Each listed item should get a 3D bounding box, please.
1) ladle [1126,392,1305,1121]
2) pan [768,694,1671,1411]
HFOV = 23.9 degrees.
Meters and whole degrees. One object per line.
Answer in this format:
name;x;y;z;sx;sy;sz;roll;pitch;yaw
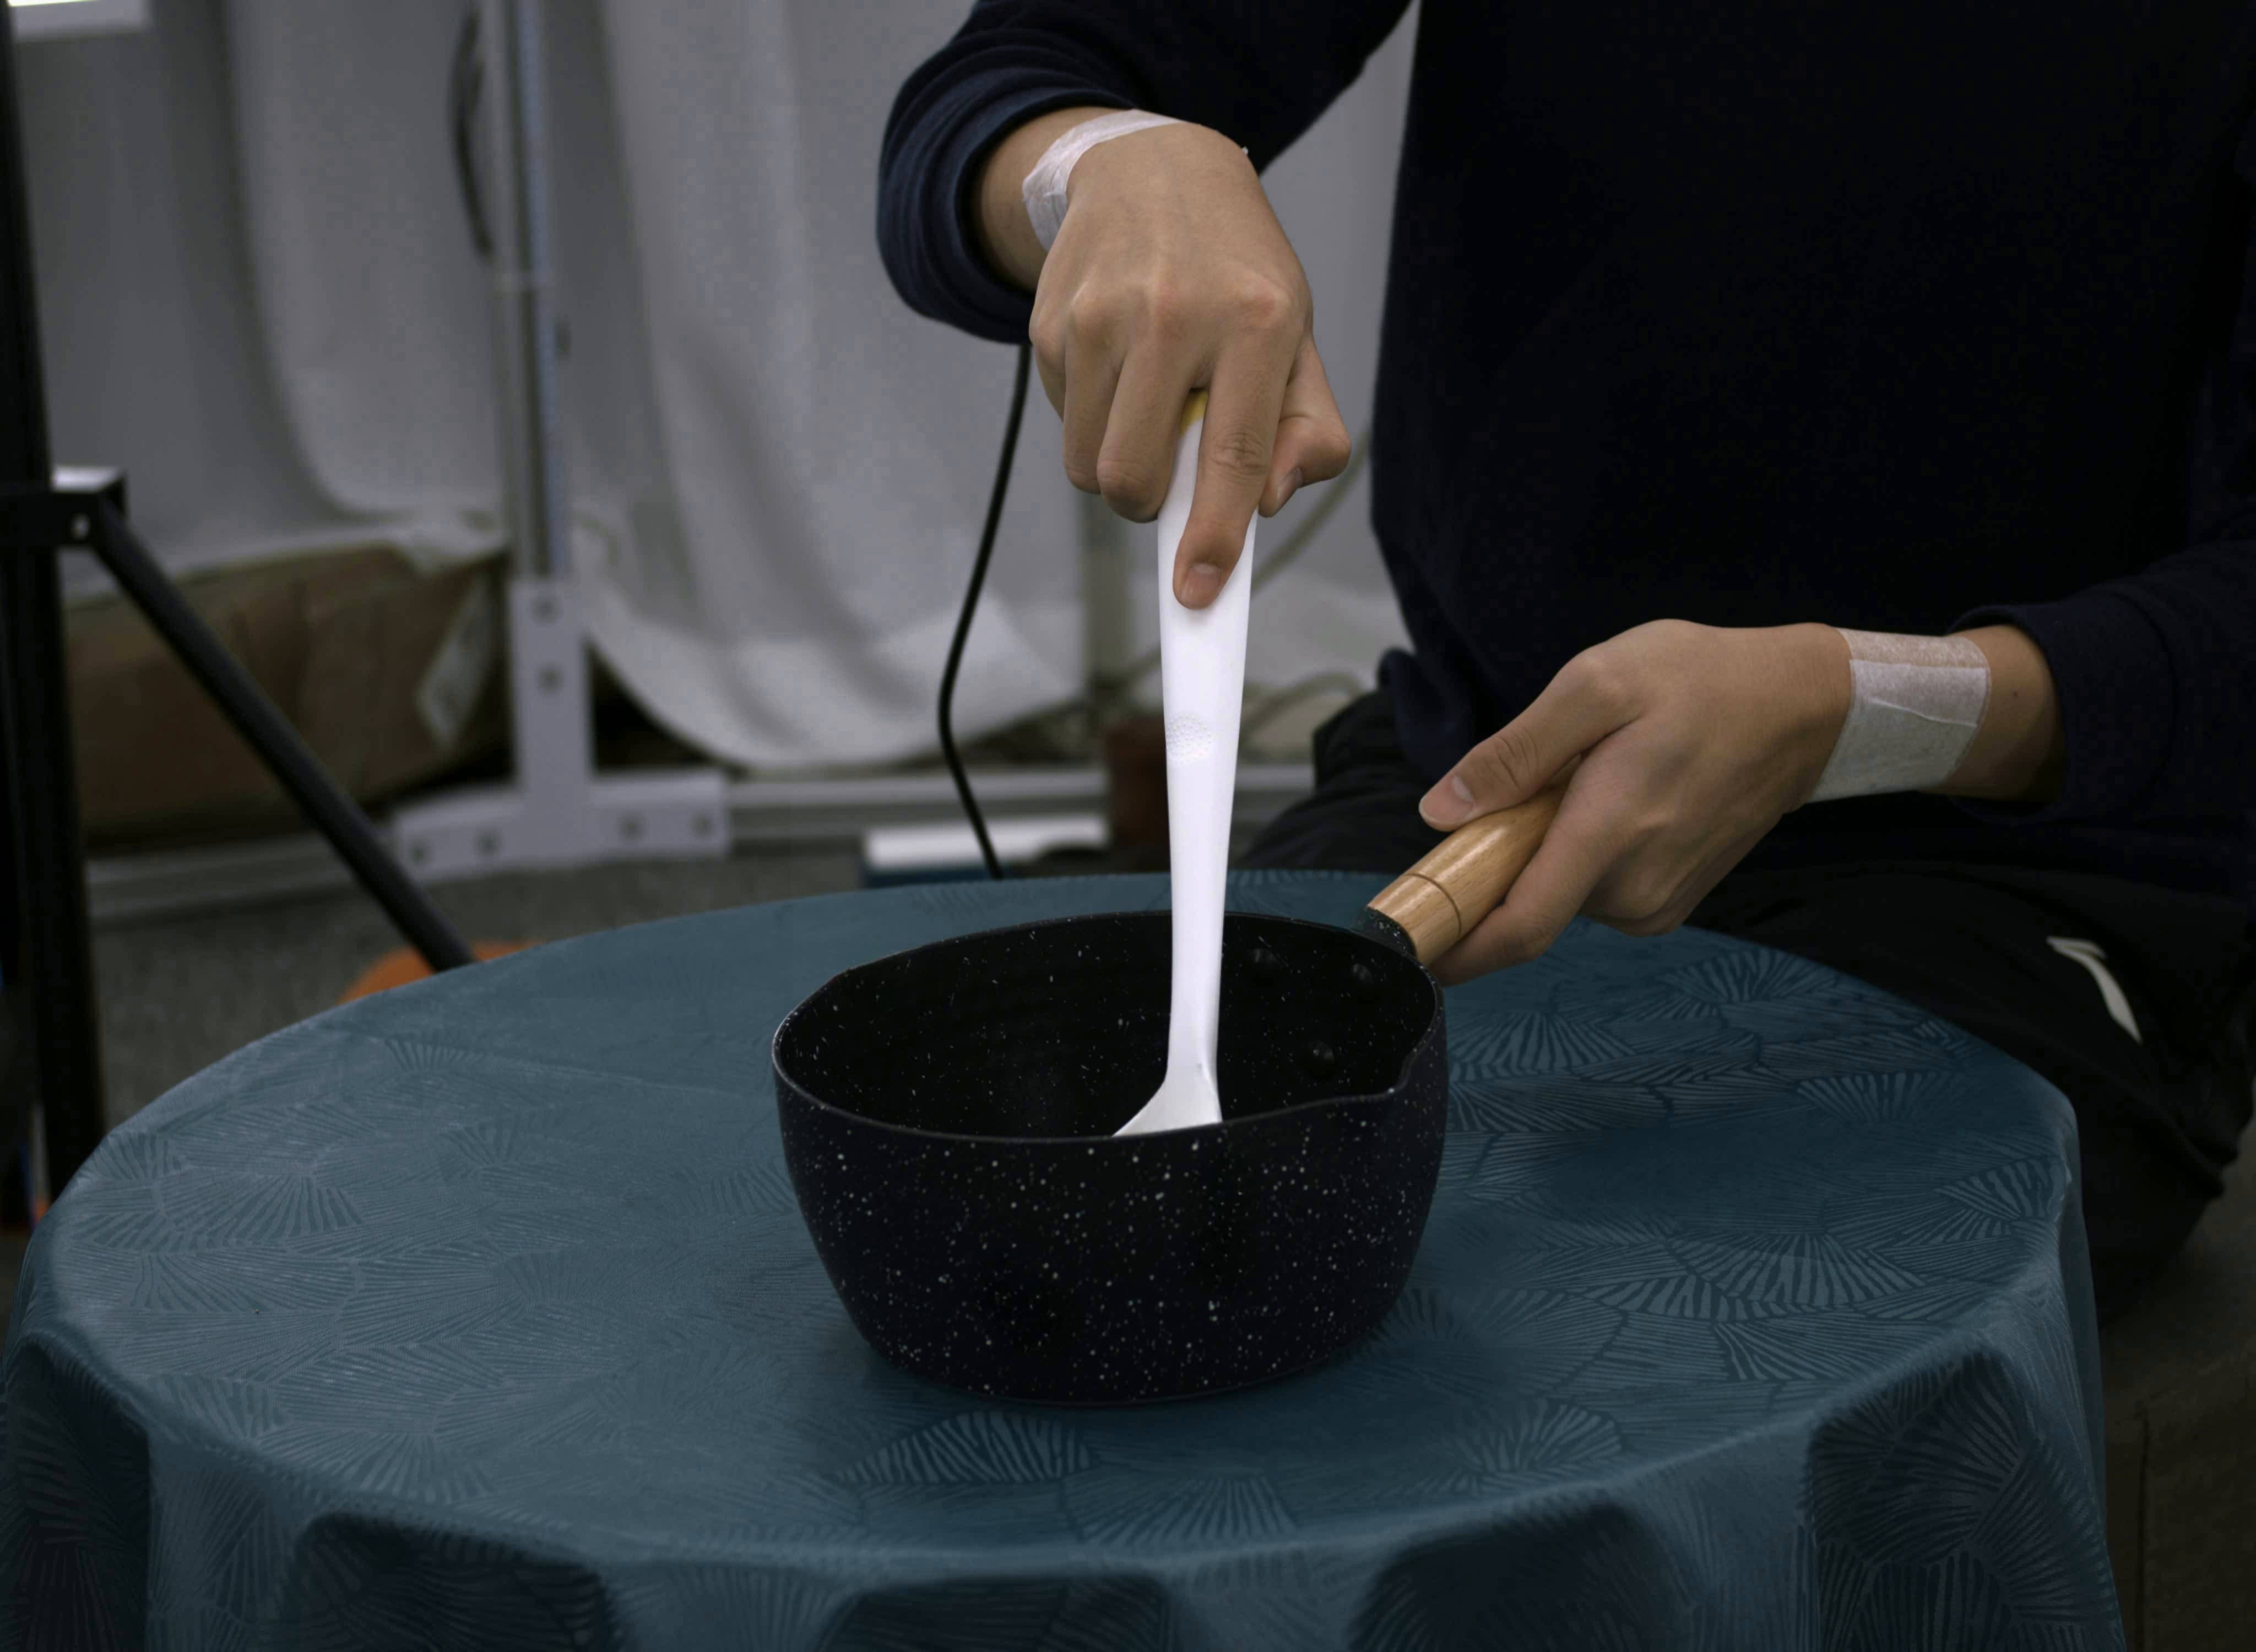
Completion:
ladle;0.004;0.006;1.488;0.068;0.295;0.092;26;-29;-37
pan;0.047;0.059;1.503;0.212;0.108;0.336;9;23;41
